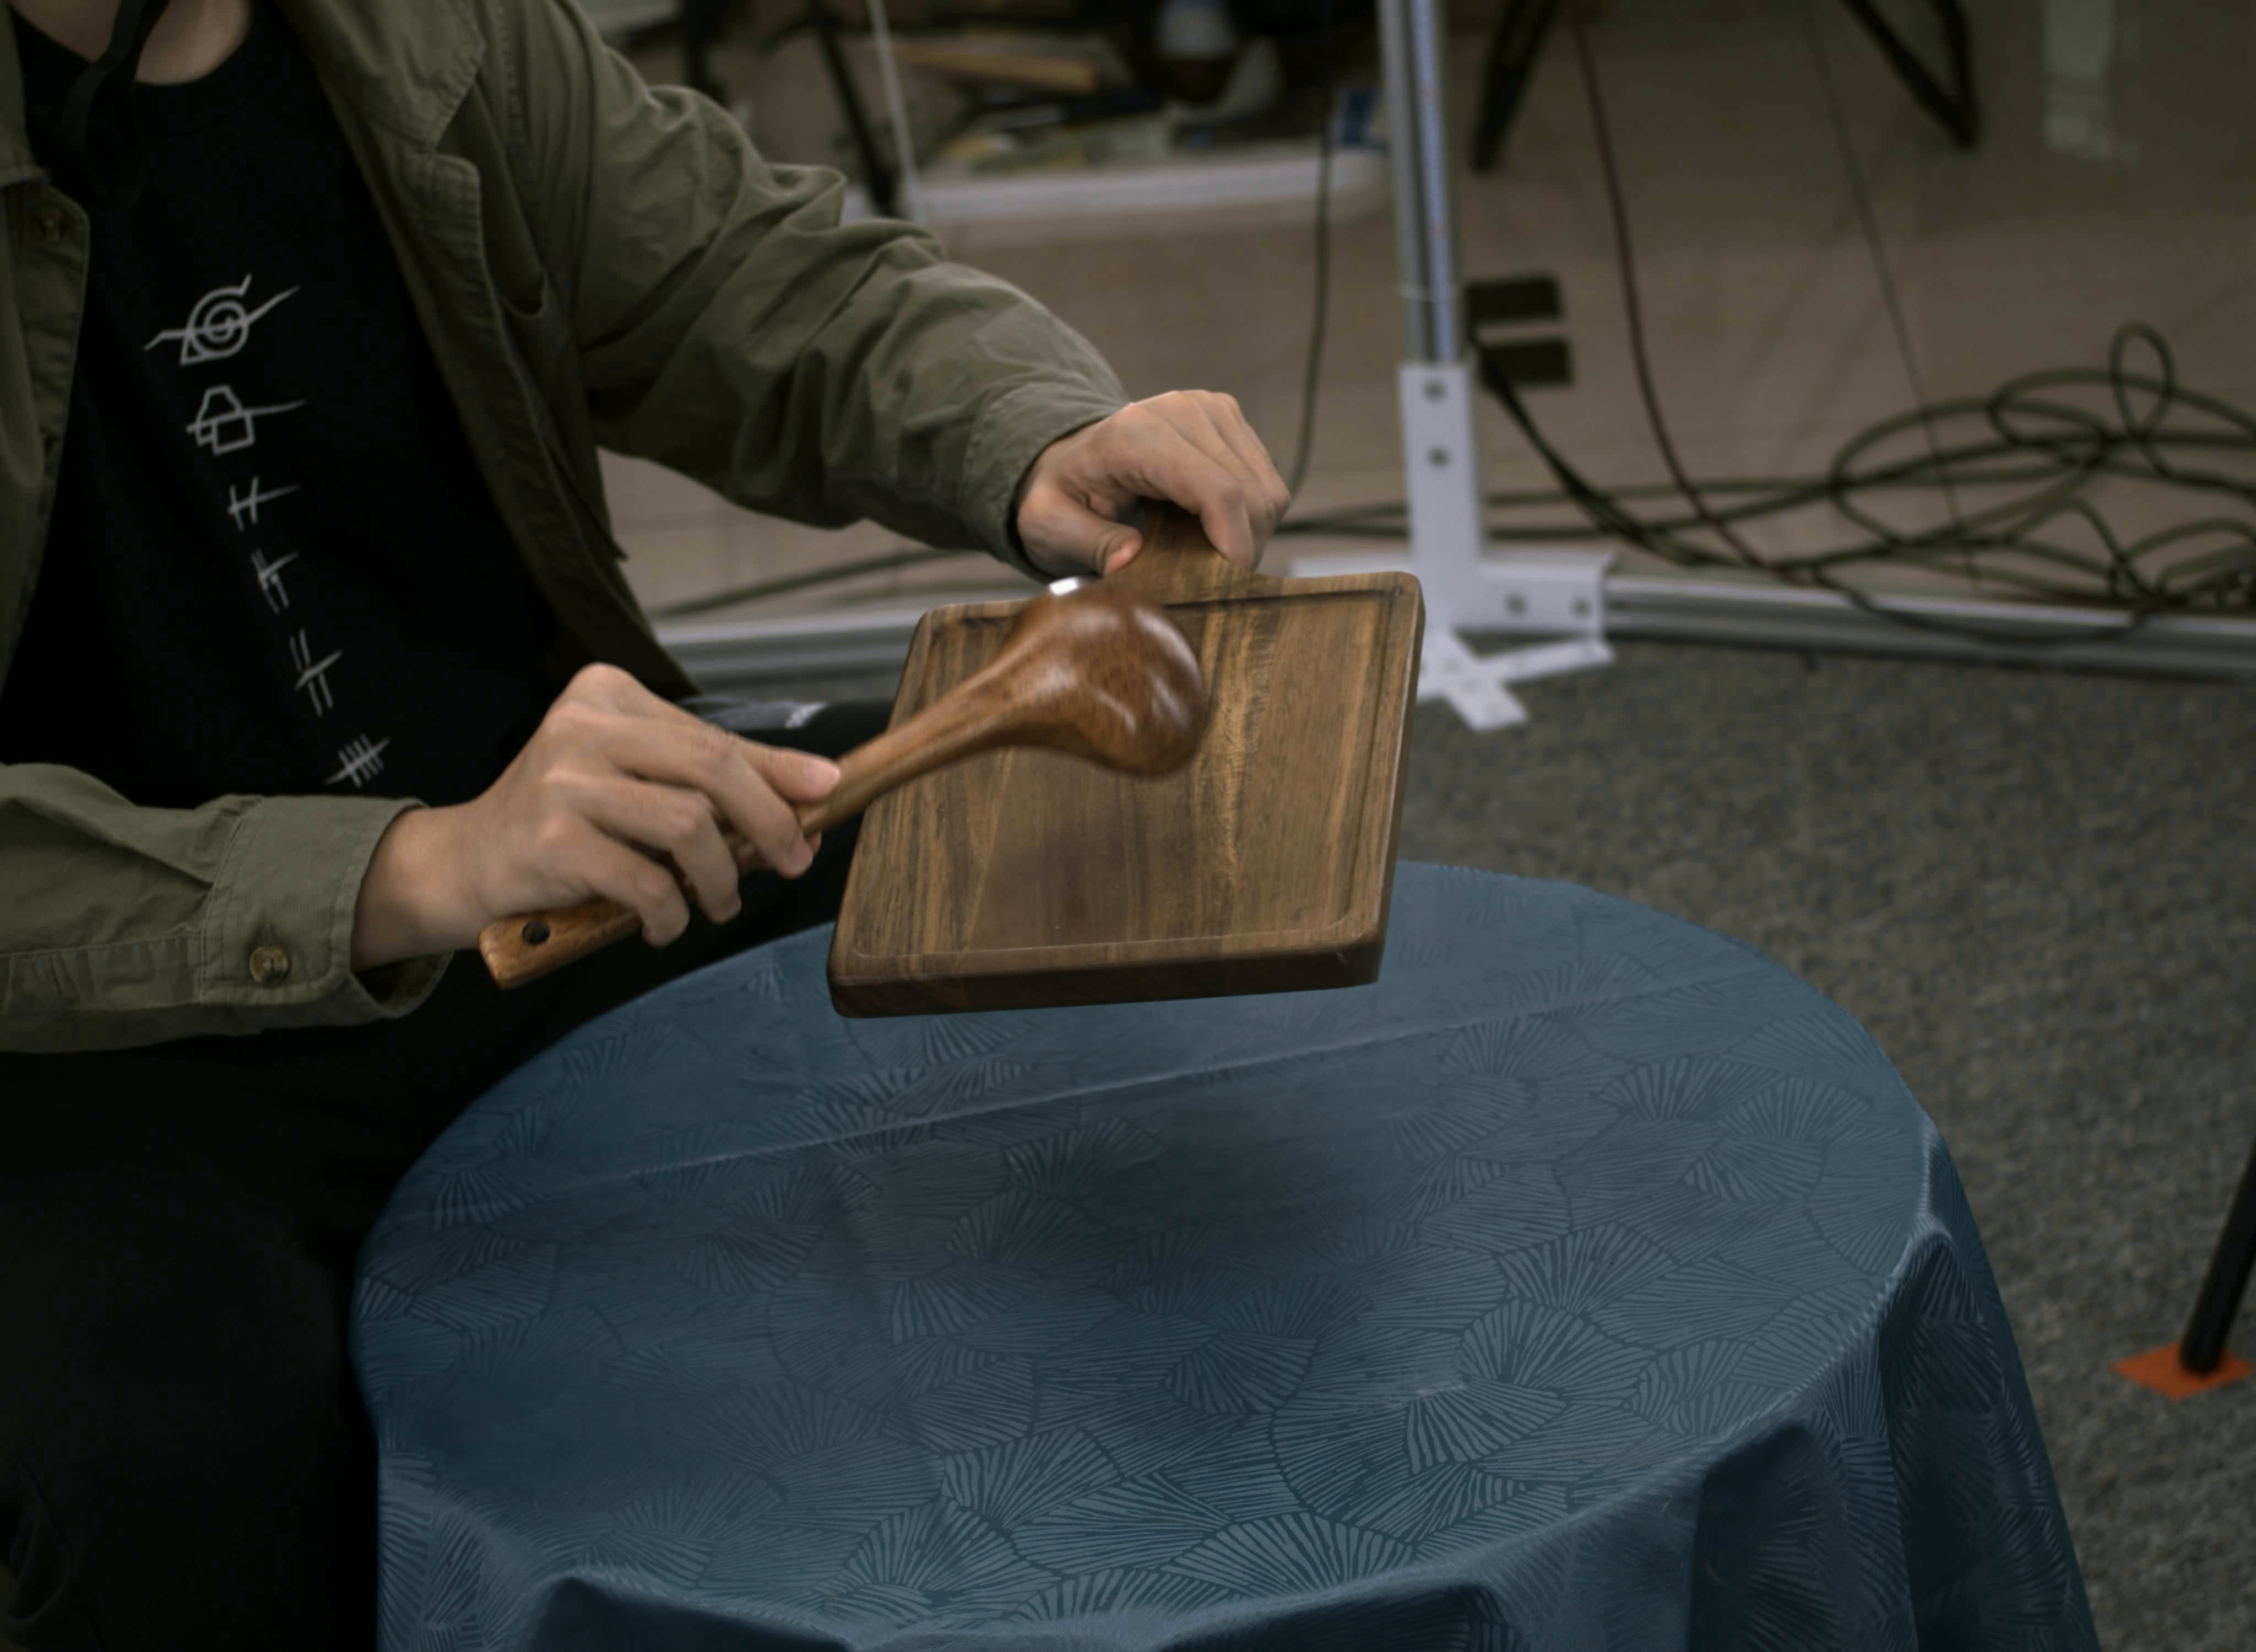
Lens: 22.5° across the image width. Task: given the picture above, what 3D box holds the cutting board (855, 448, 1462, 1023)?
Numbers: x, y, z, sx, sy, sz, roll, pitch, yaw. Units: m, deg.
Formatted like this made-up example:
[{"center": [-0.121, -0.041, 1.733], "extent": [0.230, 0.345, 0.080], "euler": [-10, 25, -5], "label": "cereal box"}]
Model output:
[{"center": [0.021, -0.042, 2.108], "extent": [0.201, 0.023, 0.346], "euler": [-3, 35, 12], "label": "cutting board"}]

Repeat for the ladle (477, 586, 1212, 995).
[{"center": [-0.099, -0.003, 2.007], "extent": [0.274, 0.077, 0.081], "euler": [-27, 65, 1], "label": "ladle"}]
